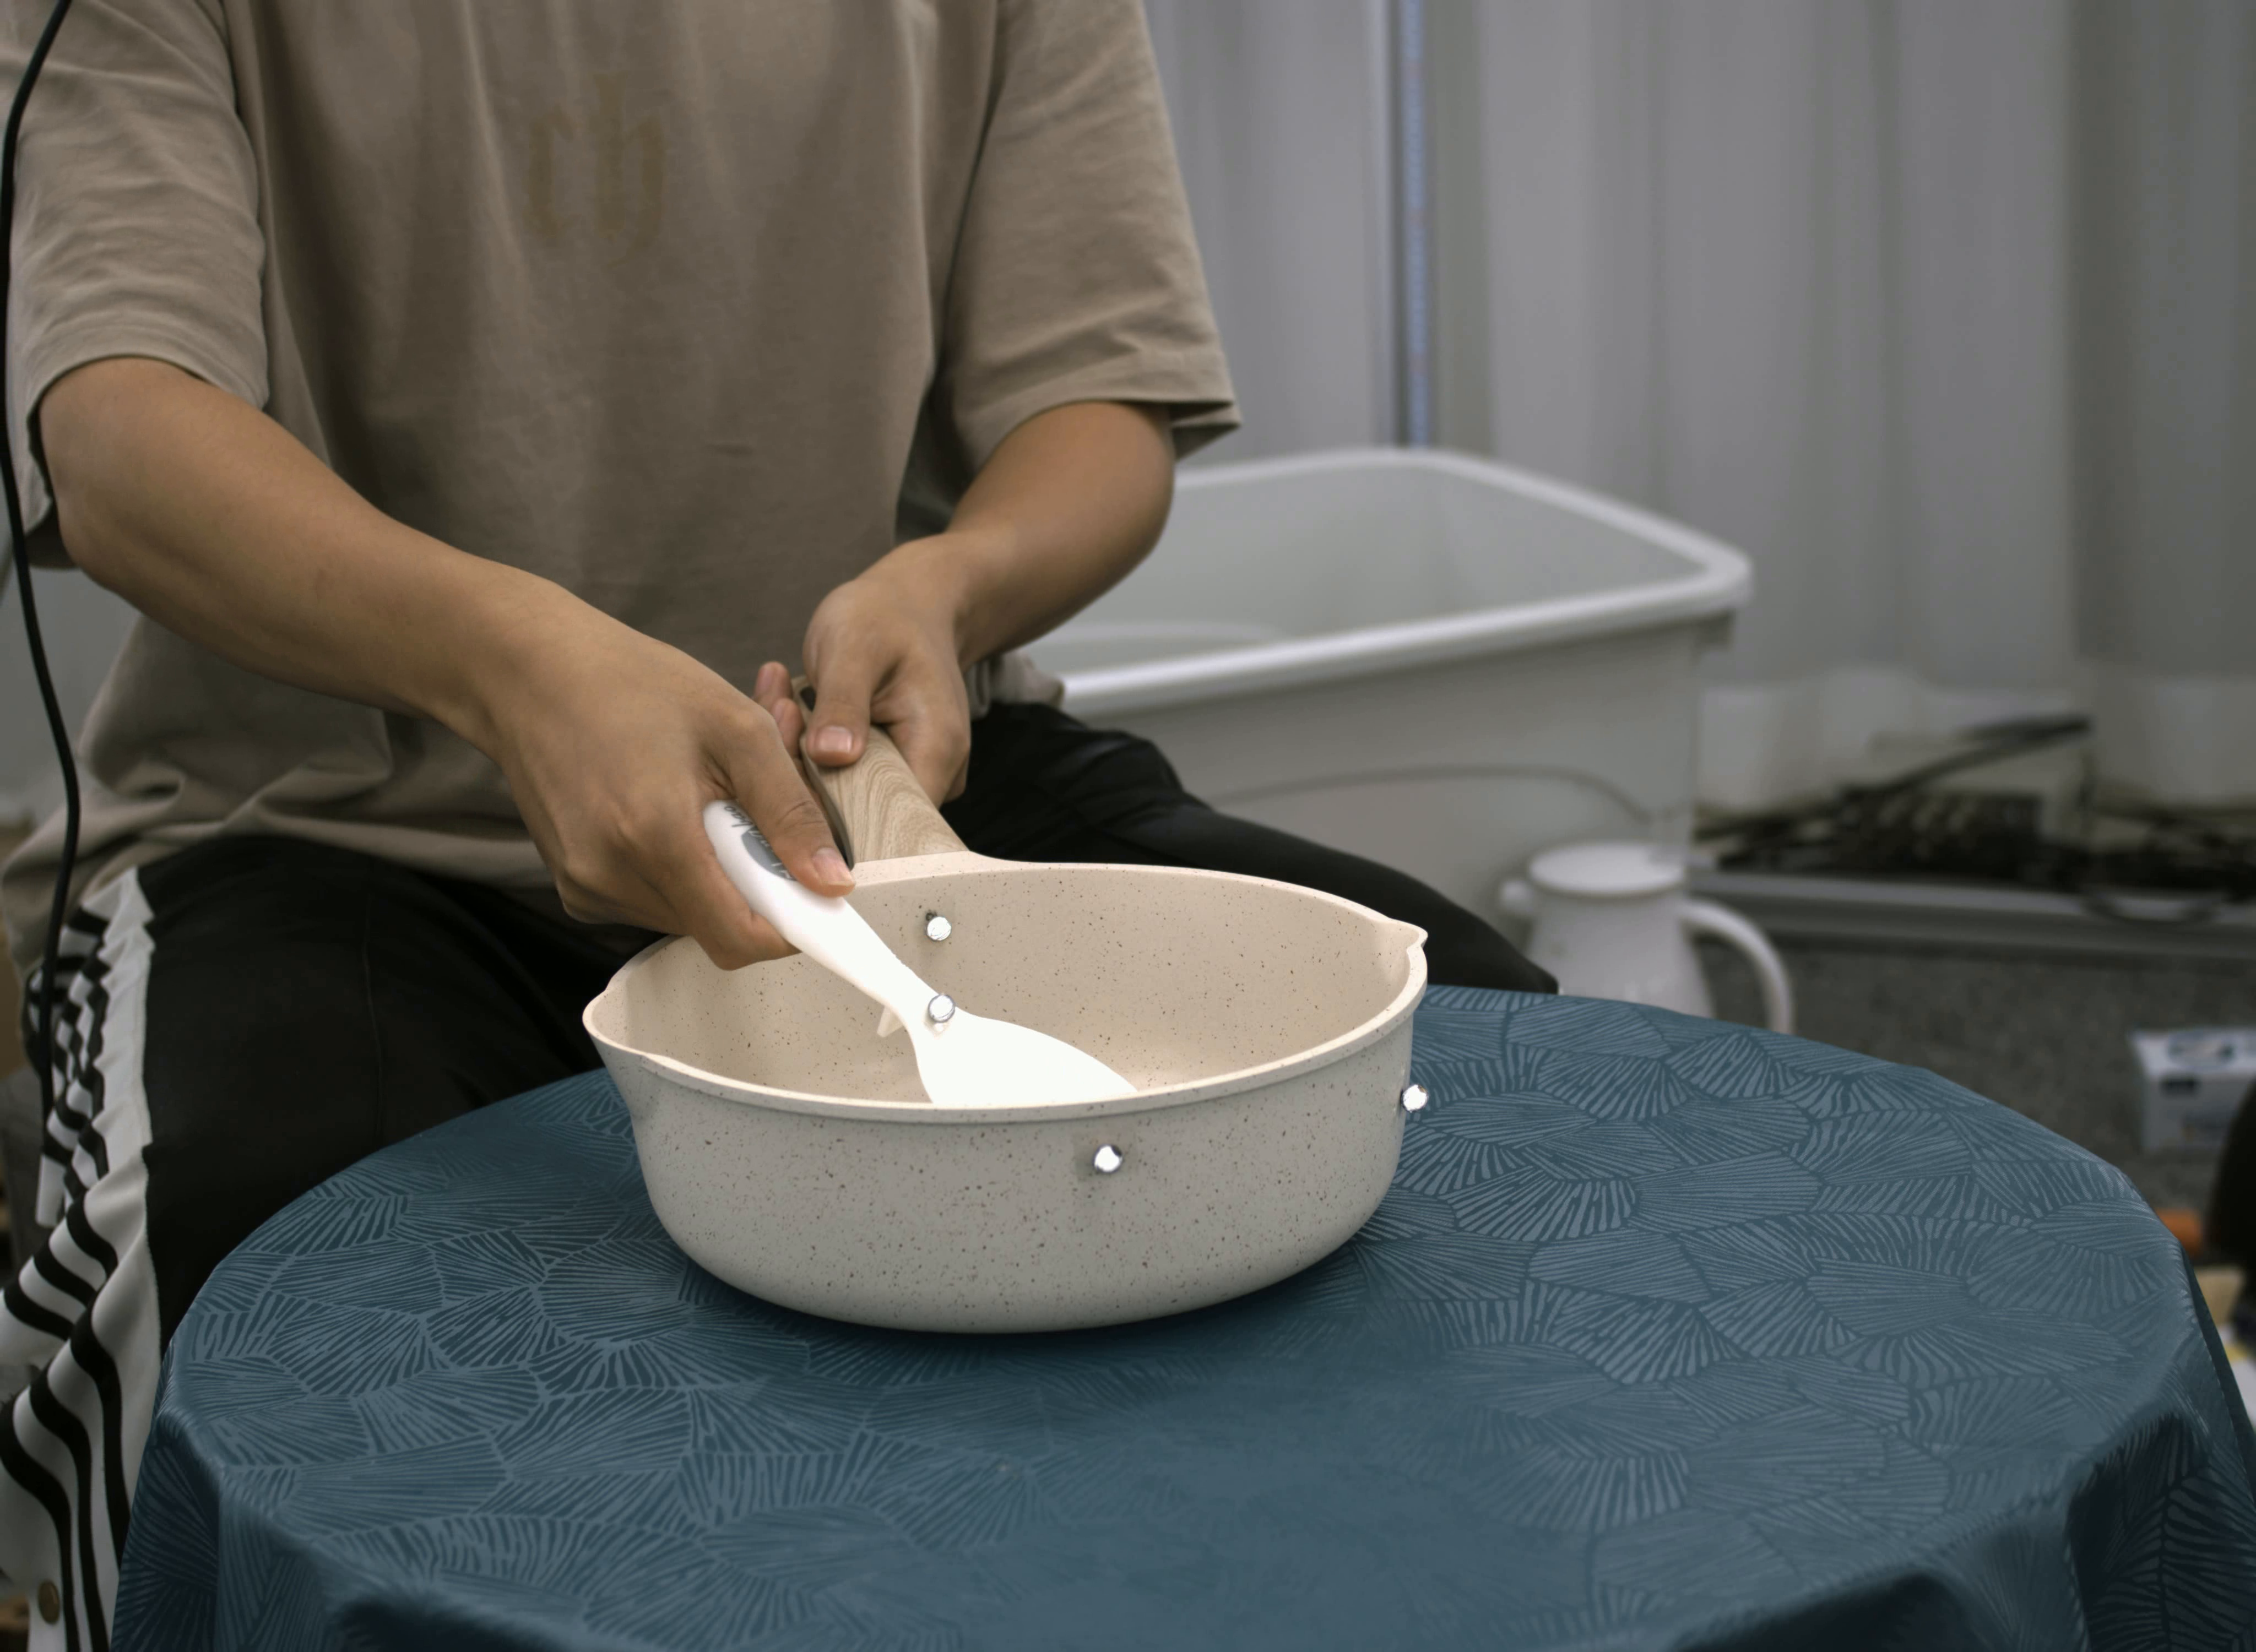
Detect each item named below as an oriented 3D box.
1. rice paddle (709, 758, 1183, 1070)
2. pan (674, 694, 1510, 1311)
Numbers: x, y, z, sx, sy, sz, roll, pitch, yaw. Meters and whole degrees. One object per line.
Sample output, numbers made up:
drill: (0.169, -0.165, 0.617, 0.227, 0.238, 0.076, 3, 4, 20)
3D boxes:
rice paddle: (-0.044, 0.050, 1.685, 0.206, 0.029, 0.069, 38, 42, 19)
pan: (-0.030, 0.051, 1.761, 0.262, 0.101, 0.438, -8, 15, -13)
